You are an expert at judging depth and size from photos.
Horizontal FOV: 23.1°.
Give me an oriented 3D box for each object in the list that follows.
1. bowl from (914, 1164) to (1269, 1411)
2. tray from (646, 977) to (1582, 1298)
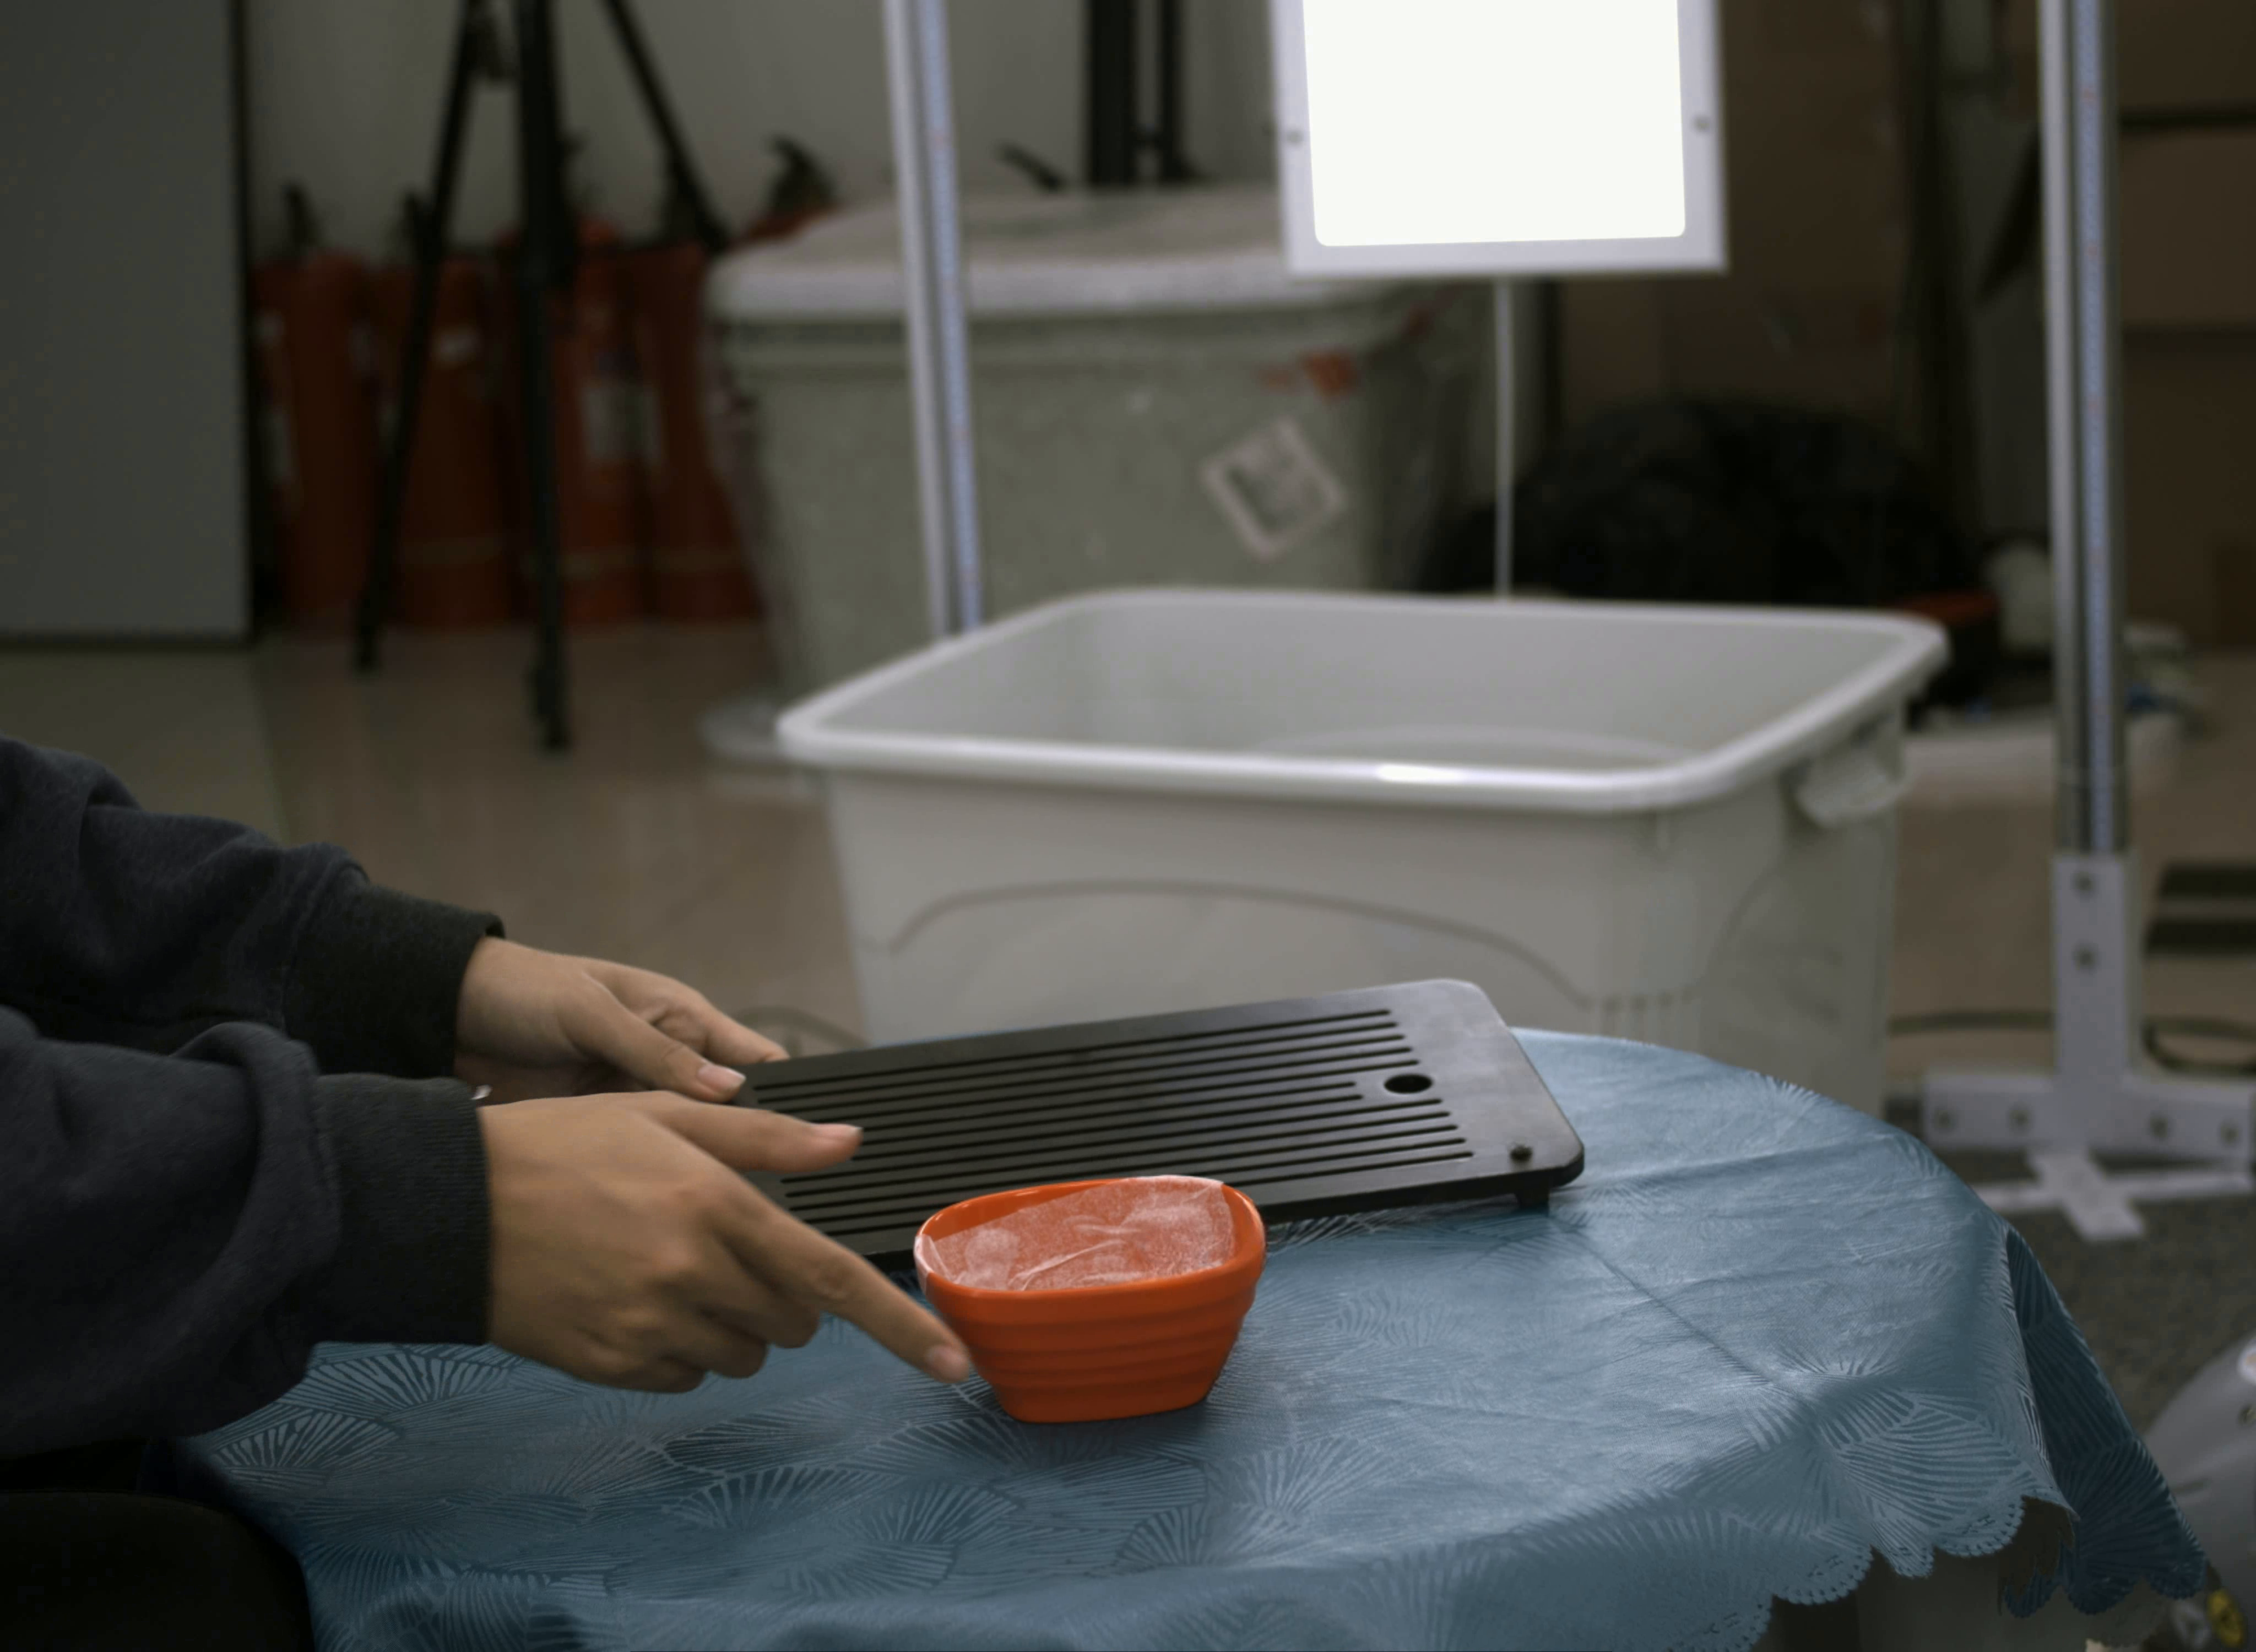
[{"bbox_3d":[-0.011,0.145,1.702,0.118,0.051,0.119,-1,15,-1],"label":"bowl"},{"bbox_3d":[-0.008,0.107,1.901,0.303,0.019,0.171,-7,21,-6],"label":"tray"}]
